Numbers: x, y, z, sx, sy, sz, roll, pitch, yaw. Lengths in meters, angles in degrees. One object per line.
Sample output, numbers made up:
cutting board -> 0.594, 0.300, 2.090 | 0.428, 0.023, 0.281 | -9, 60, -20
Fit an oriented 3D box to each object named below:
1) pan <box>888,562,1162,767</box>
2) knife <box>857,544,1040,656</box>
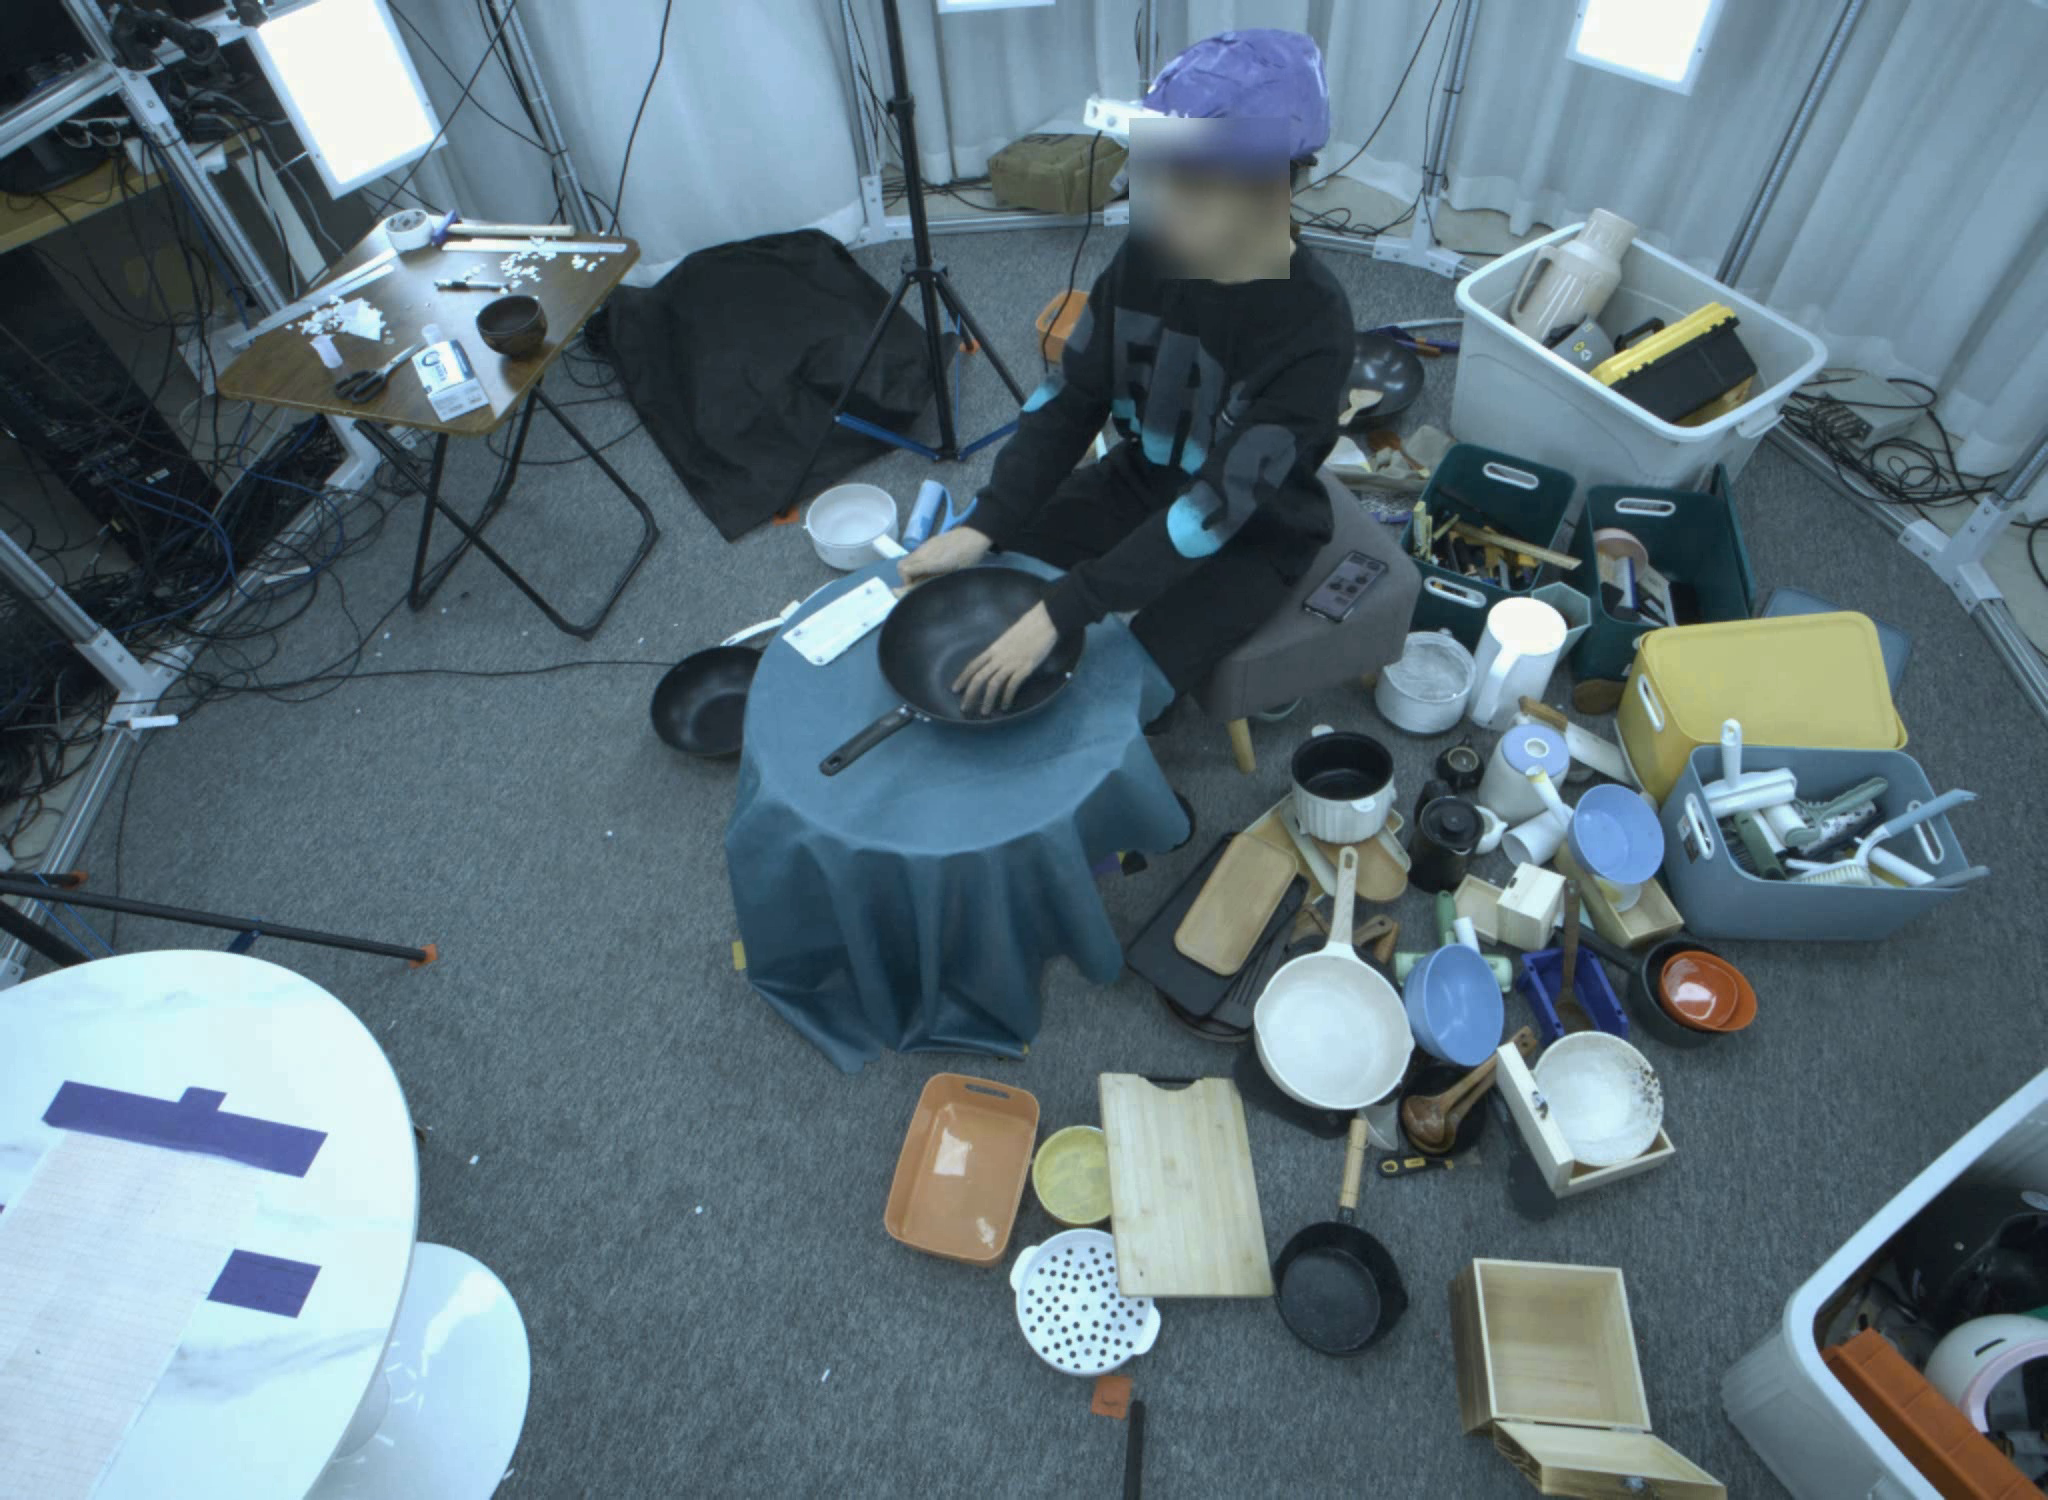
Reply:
pan -> -0.010, -0.098, 1.792 | 0.304, 0.113, 0.480 | 36, 63, 26
knife -> -0.113, -0.245, 1.954 | 0.317, 0.022, 0.112 | -30, 58, -14
